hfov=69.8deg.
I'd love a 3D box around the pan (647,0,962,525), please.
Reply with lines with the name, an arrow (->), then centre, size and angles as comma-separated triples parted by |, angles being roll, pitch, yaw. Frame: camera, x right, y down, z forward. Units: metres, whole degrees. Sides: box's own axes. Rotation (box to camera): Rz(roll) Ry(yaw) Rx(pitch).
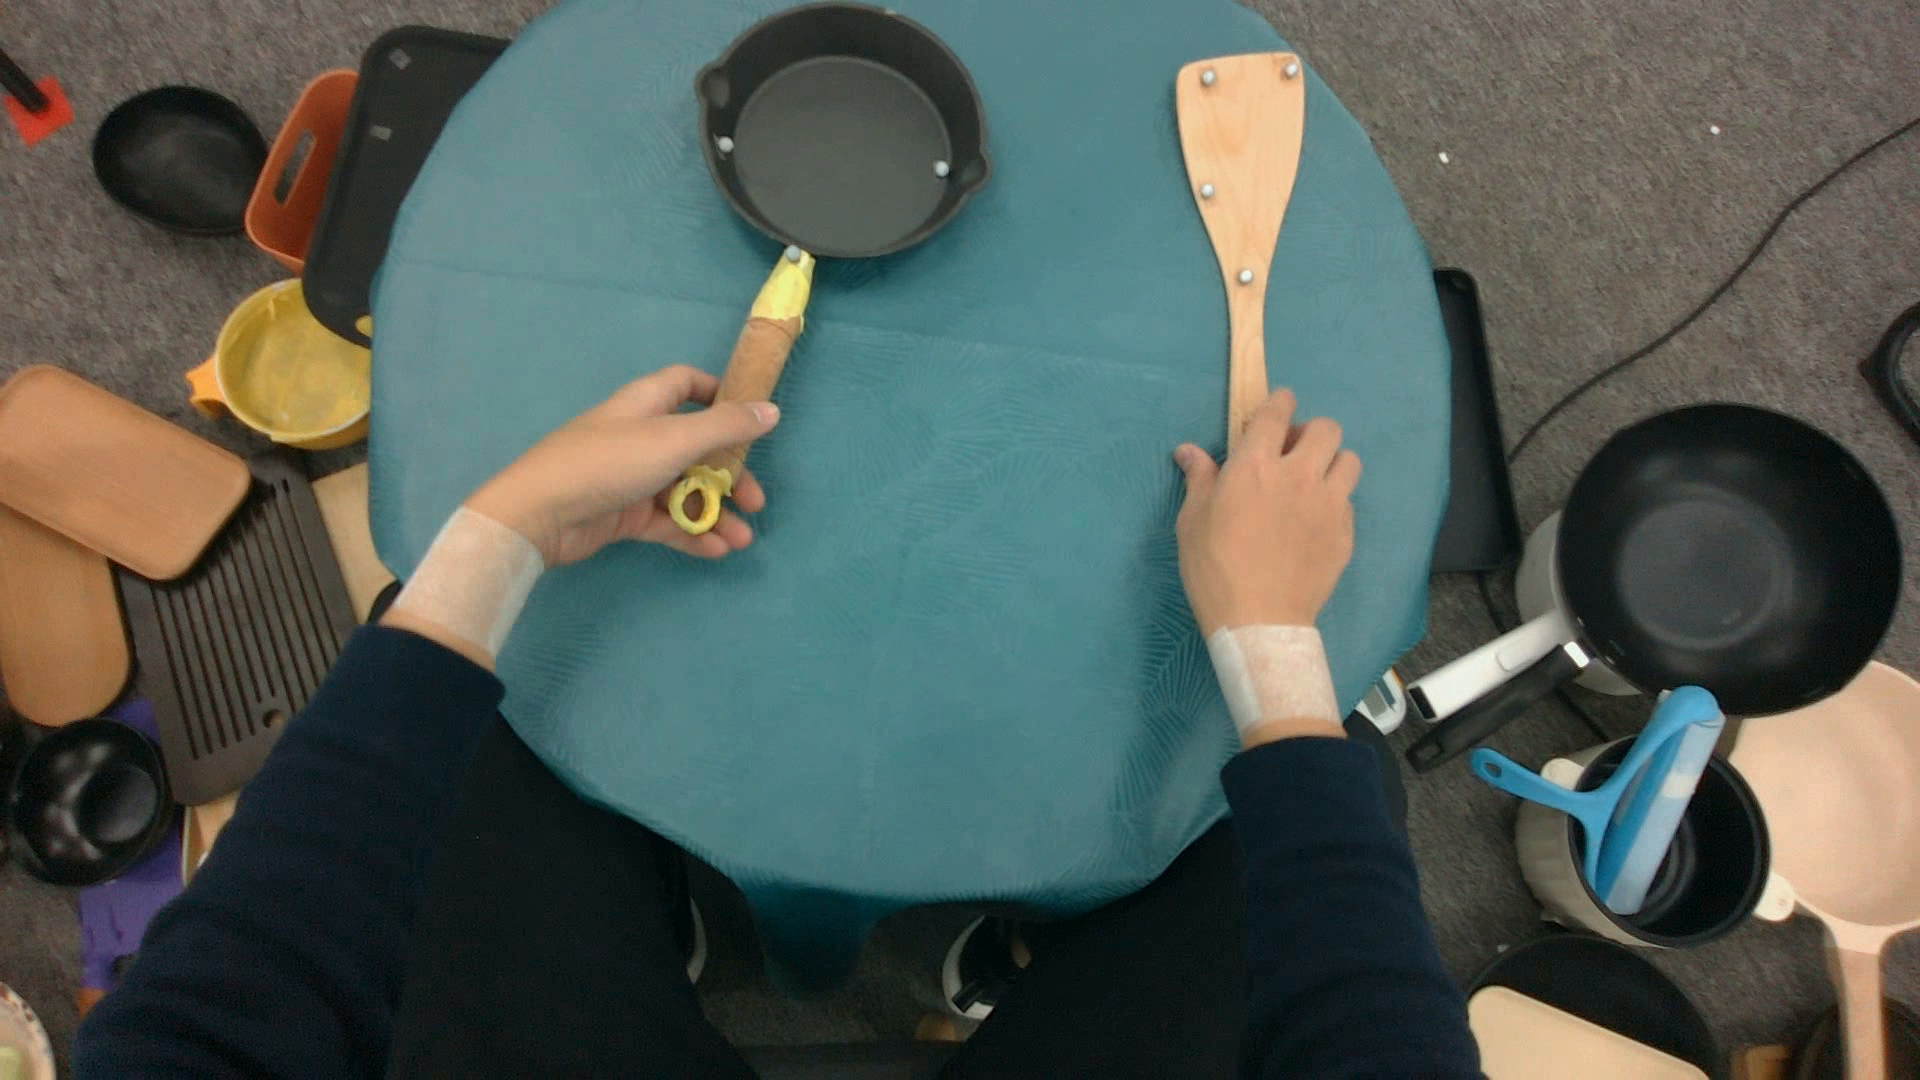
pan -> -0.105, -0.156, 0.737 | 0.169, 0.049, 0.325 | 18, 72, -3

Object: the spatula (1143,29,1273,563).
spatula -> 0.146, -0.147, 0.787 | 0.080, 0.016, 0.328 | 2, 75, -6
